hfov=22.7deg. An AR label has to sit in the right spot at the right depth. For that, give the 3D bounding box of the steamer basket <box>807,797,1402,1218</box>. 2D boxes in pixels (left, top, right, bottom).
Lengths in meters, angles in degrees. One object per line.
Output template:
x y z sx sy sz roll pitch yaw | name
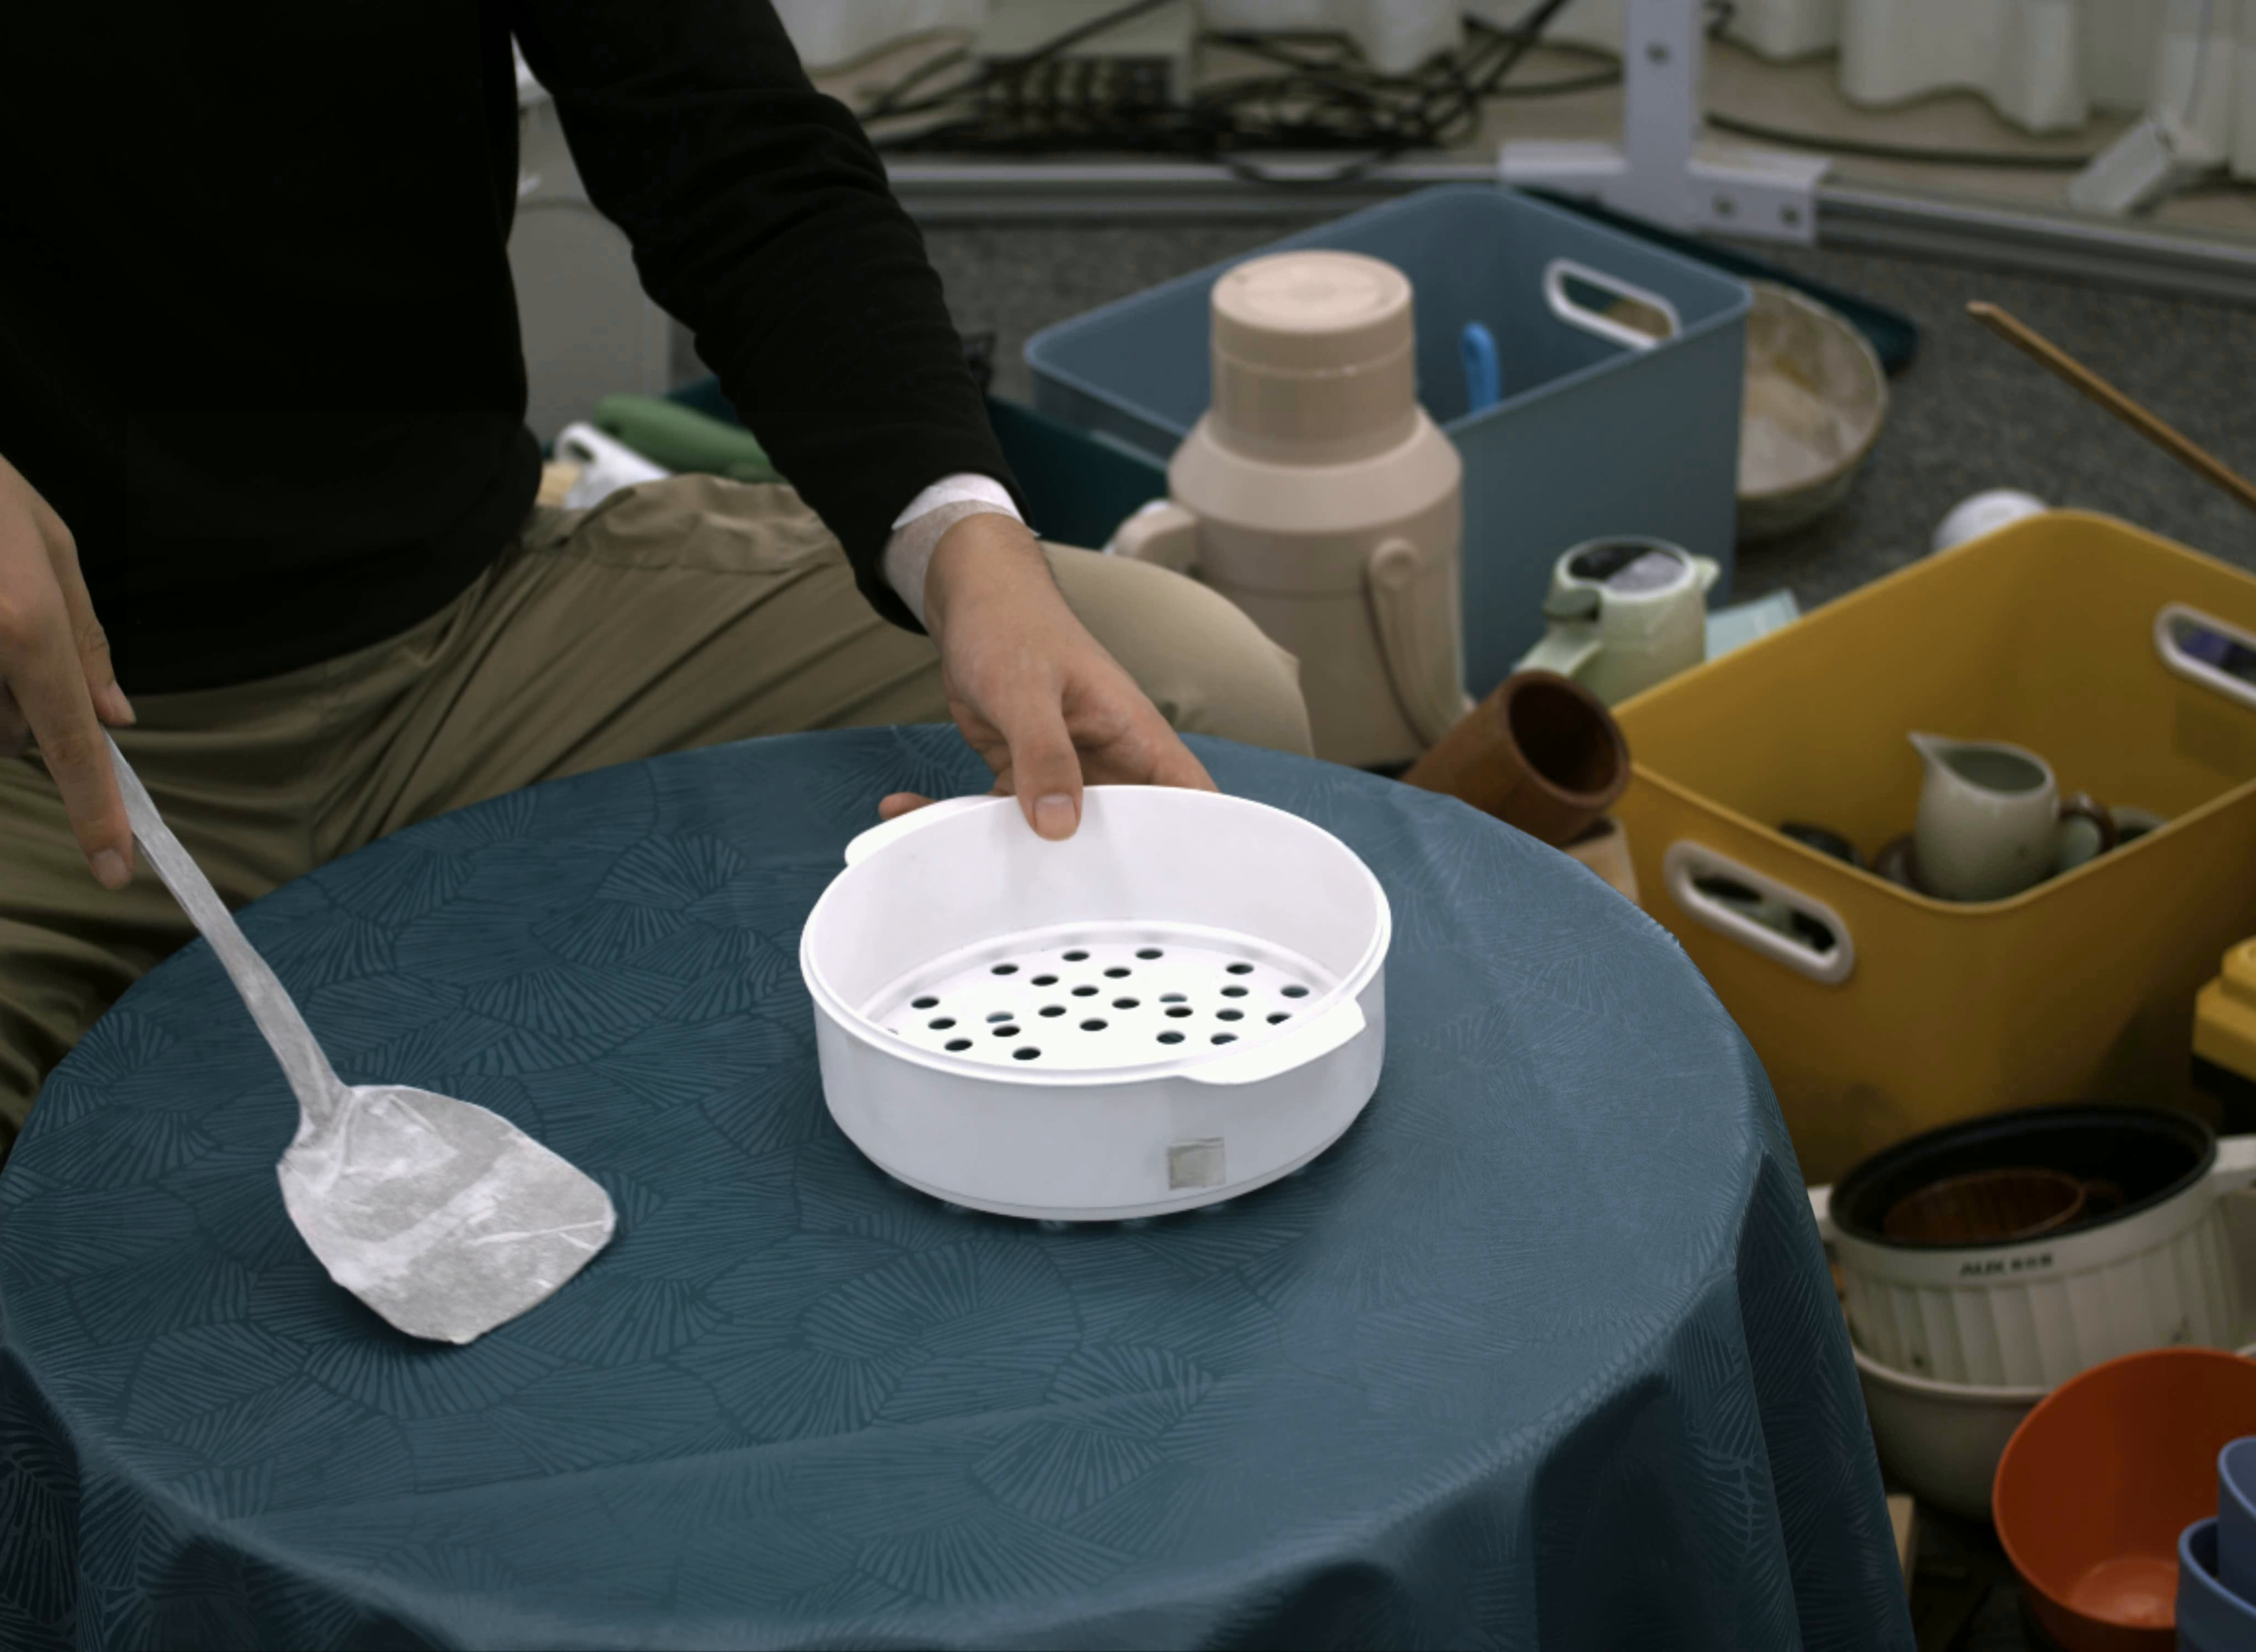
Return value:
-0.007 0.062 1.902 0.203 0.068 0.231 -20 30 -32 | steamer basket

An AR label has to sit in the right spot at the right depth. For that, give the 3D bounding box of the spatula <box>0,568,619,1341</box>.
-0.305 0.017 1.848 0.100 0.044 0.366 -31 83 -41 | spatula
